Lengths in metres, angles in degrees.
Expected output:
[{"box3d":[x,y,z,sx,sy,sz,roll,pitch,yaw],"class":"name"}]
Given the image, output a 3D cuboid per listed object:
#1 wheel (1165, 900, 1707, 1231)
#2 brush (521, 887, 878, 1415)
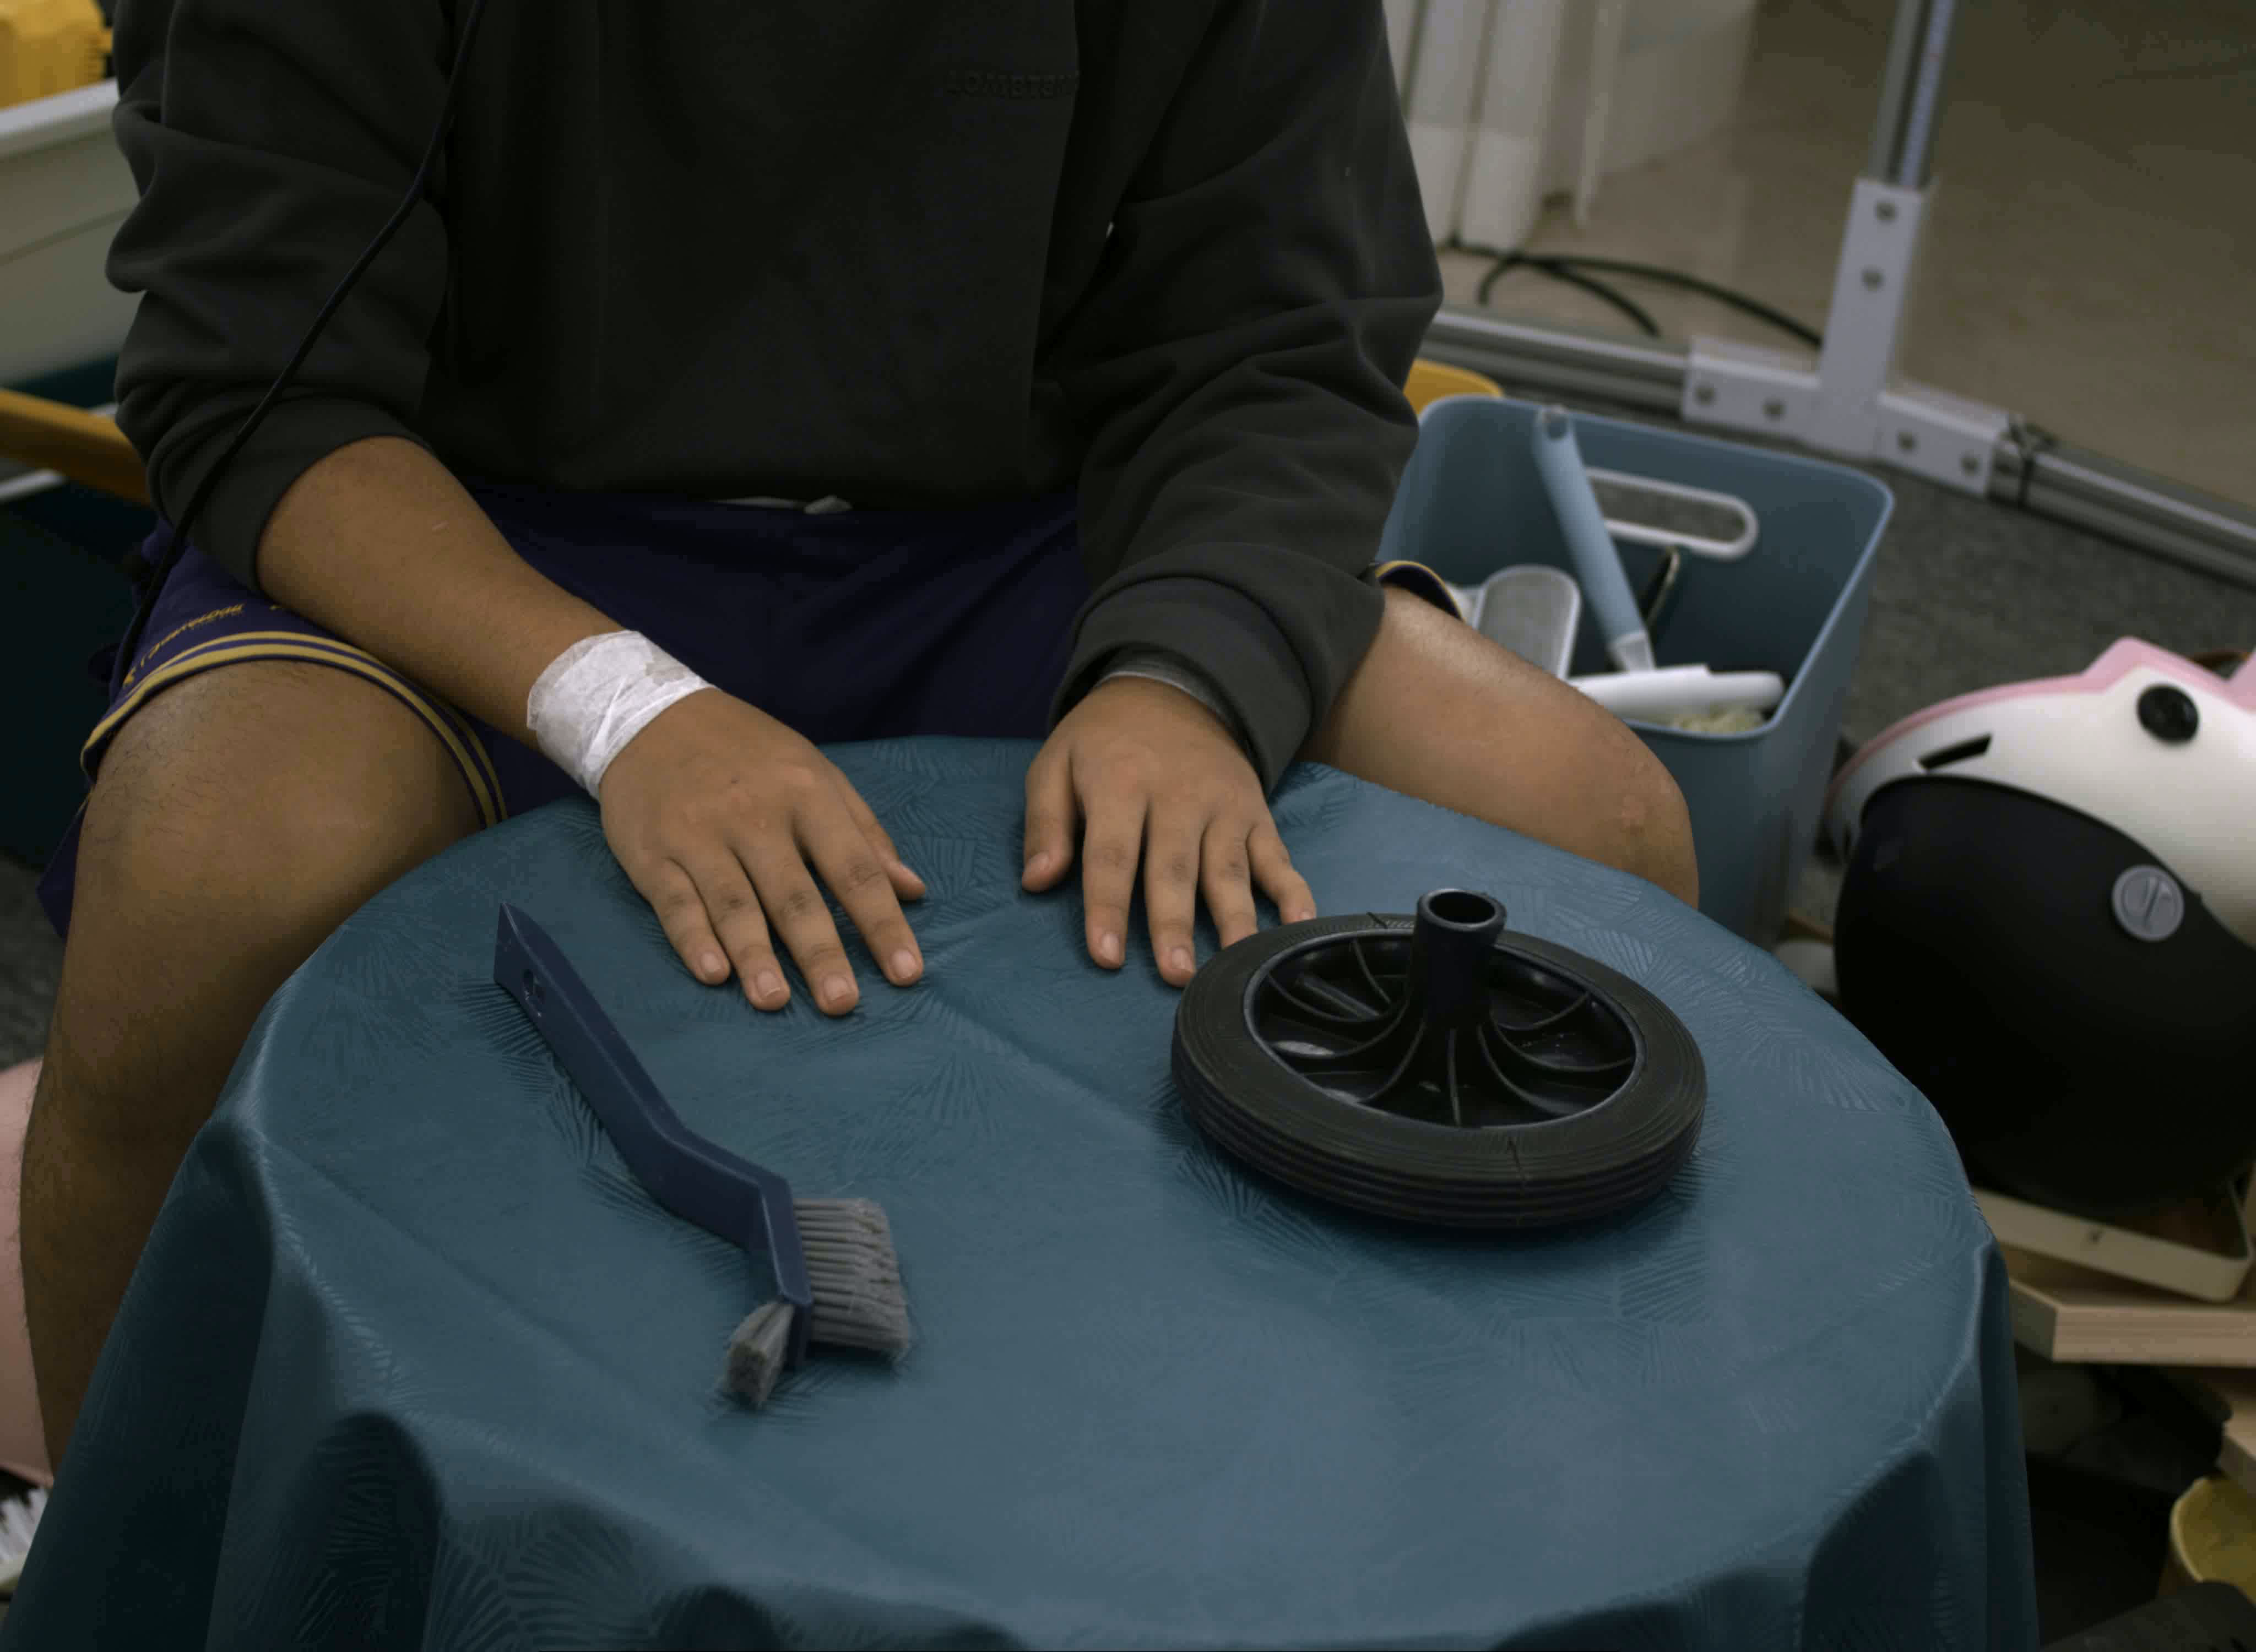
[{"box3d":[0.110,0.067,1.853,0.190,0.079,0.187,14,28,17],"class":"wheel"},{"box3d":[-0.164,0.103,1.770,0.095,0.033,0.275,-12,34,-31],"class":"brush"}]
